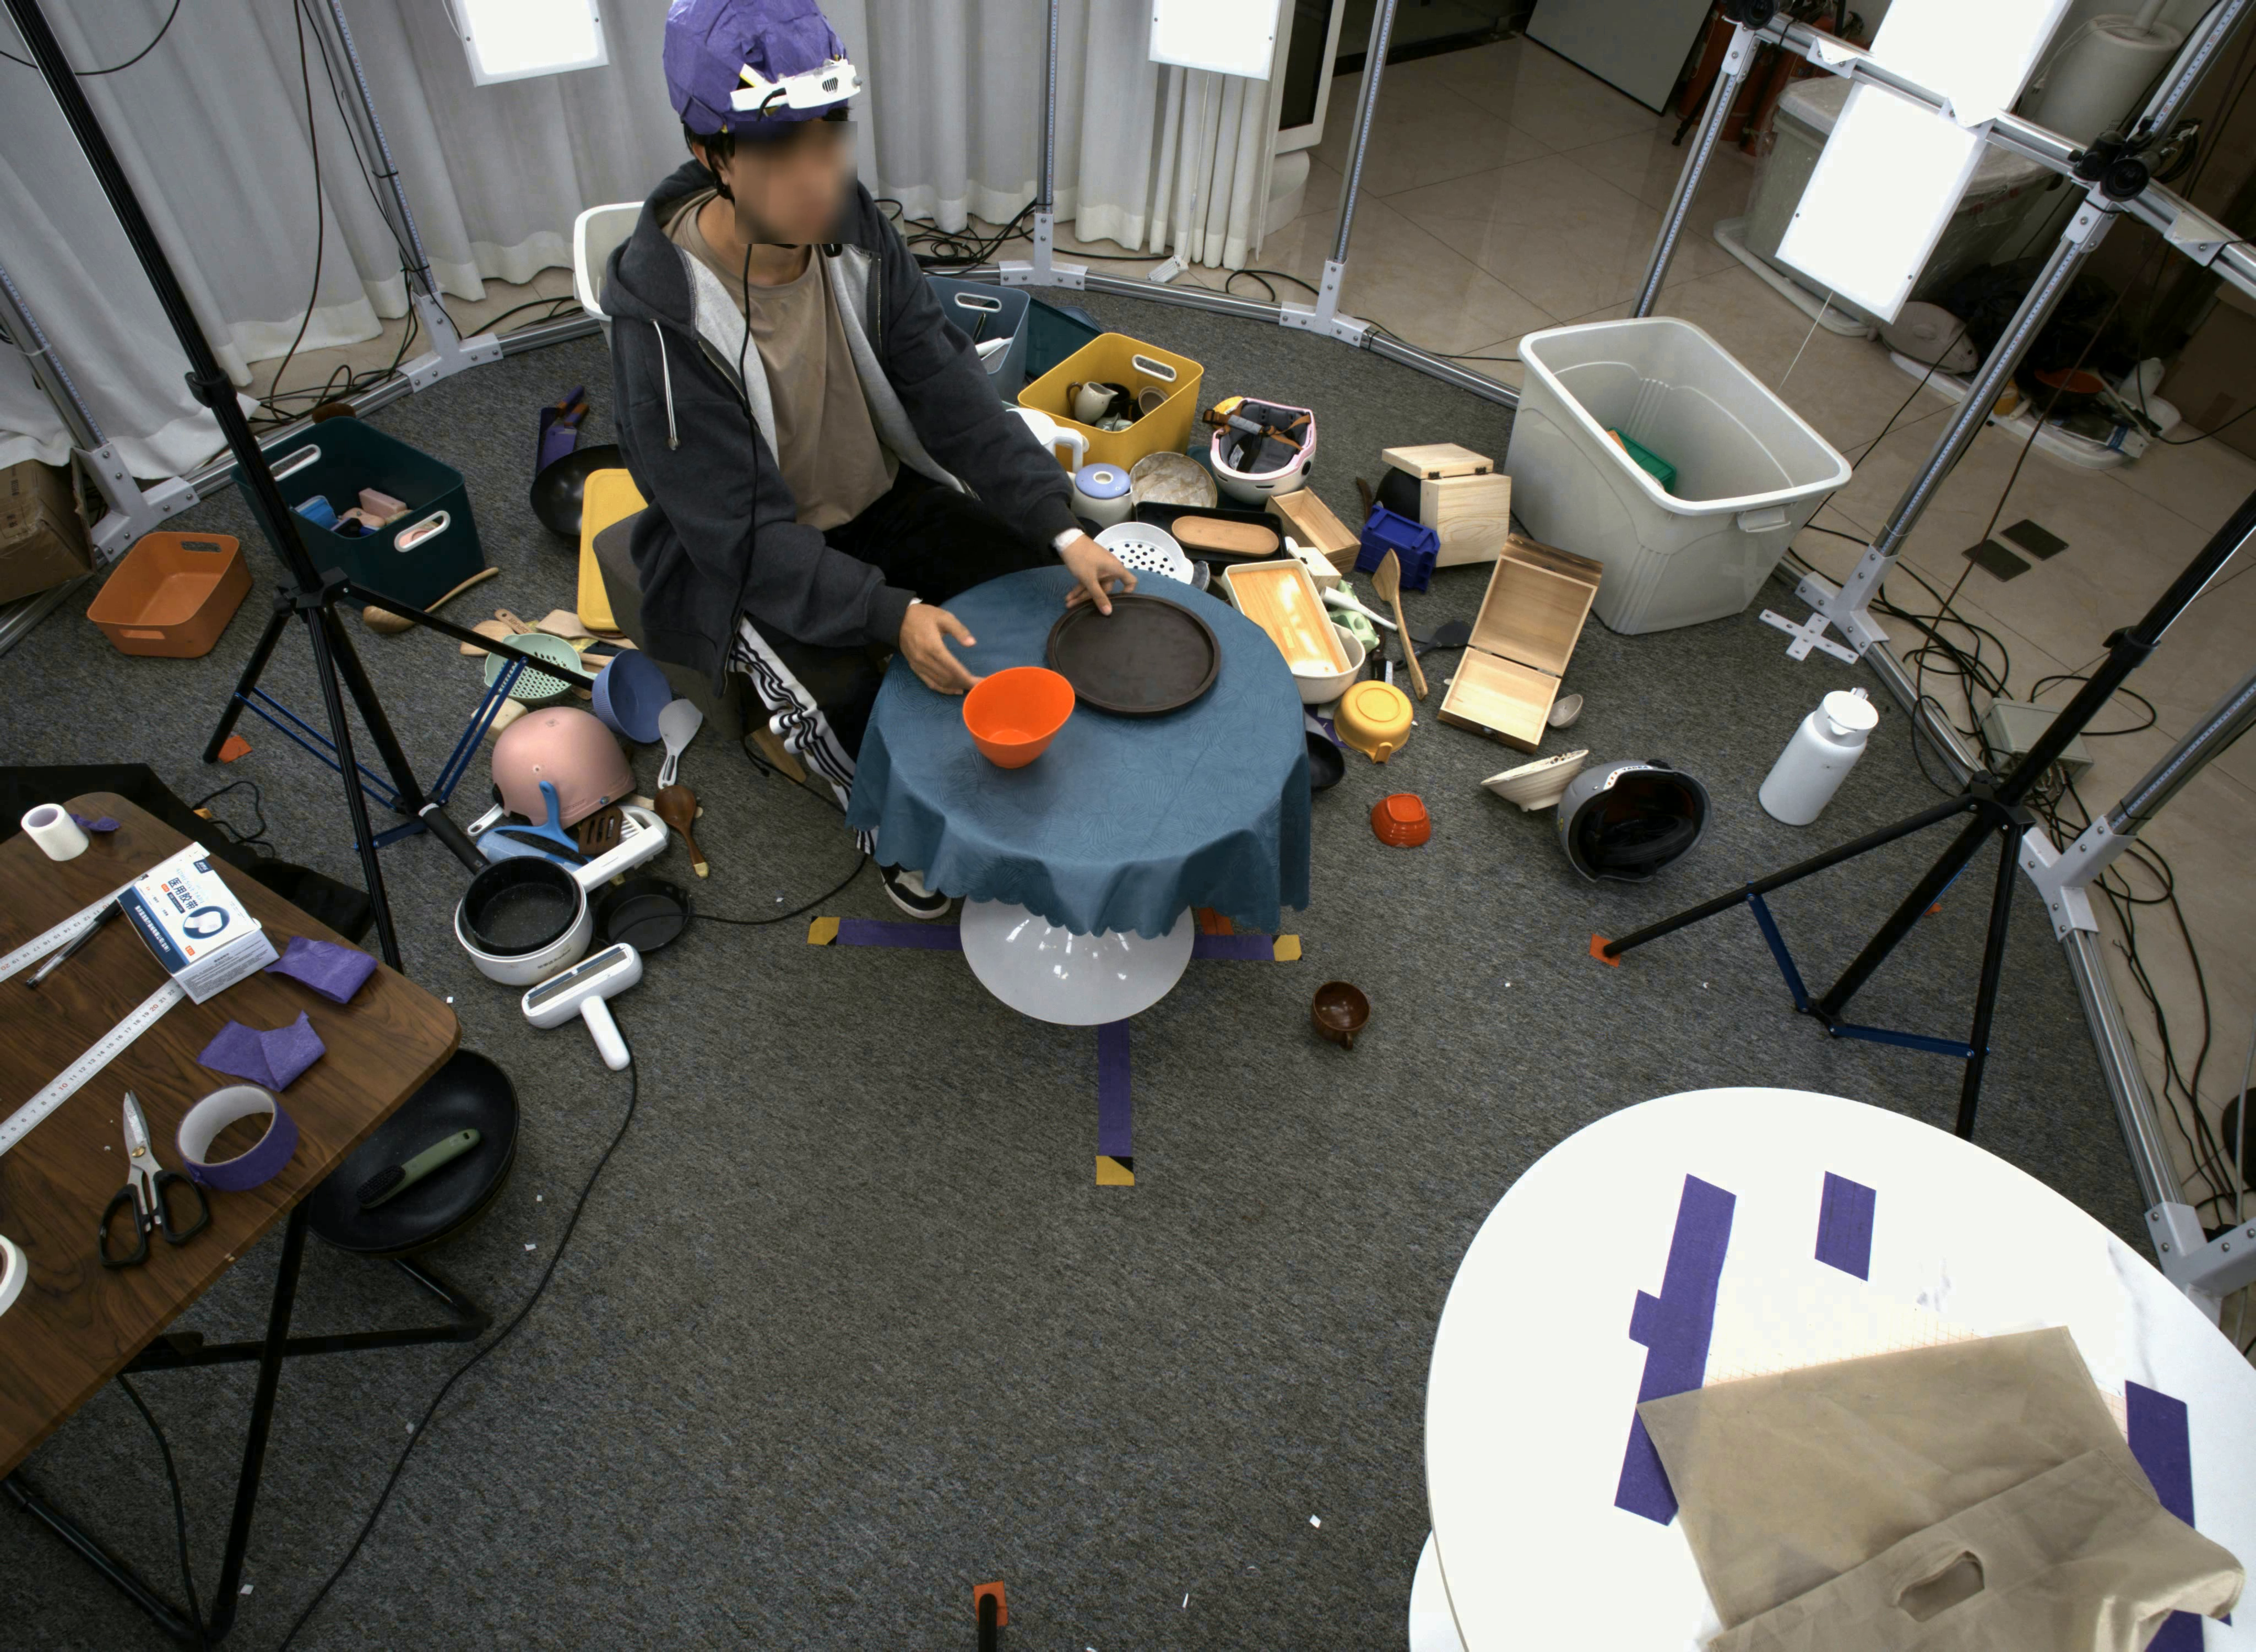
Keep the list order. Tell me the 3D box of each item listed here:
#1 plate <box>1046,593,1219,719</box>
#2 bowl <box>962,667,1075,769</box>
[{"bbox_3d":[0.007,-0.249,1.869,0.254,0.028,0.261,1,50,-2],"label":"plate"},{"bbox_3d":[-0.146,-0.132,1.705,0.148,0.102,0.152,2,51,-2],"label":"bowl"}]
